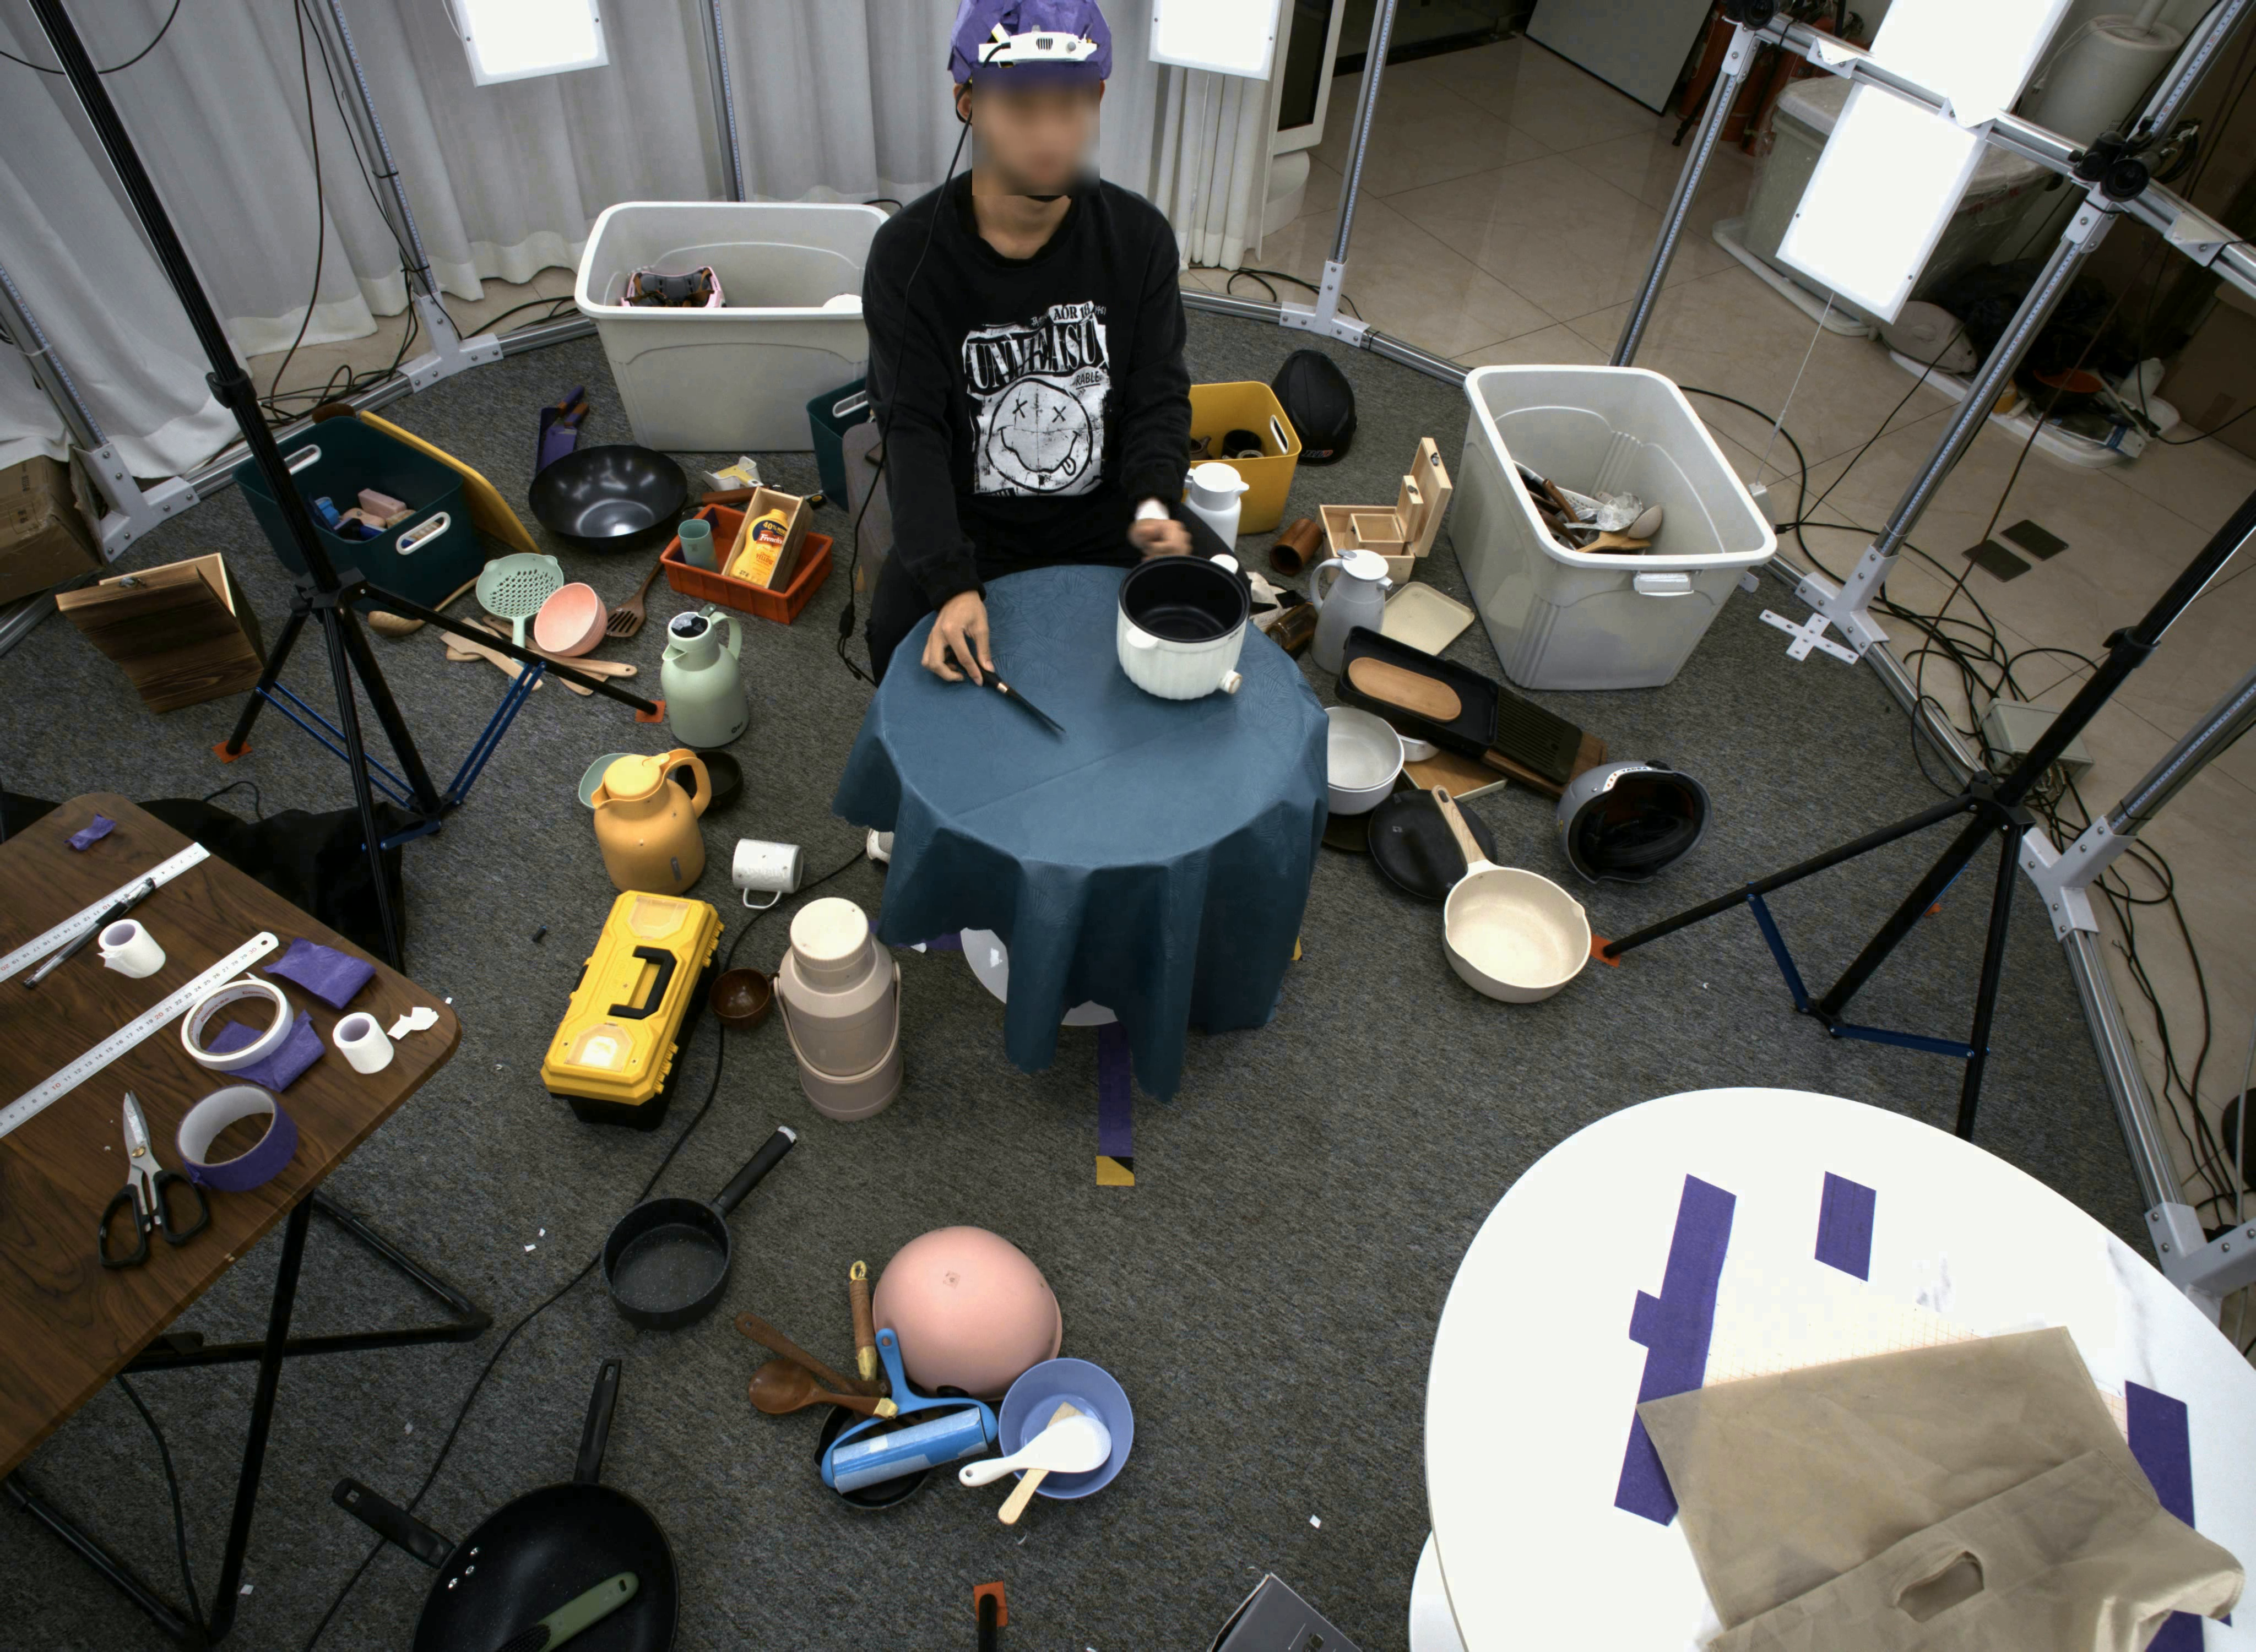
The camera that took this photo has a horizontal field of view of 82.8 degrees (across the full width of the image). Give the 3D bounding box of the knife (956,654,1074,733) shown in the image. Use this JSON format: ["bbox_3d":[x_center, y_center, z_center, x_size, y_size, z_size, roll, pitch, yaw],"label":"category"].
[{"bbox_3d":[-0.162,-0.187,1.811,0.229,0.026,0.017,35,98,27],"label":"knife"}]

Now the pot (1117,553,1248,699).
[{"bbox_3d":[0.079,-0.274,1.822,0.192,0.139,0.243,28,54,23],"label":"pot"}]
